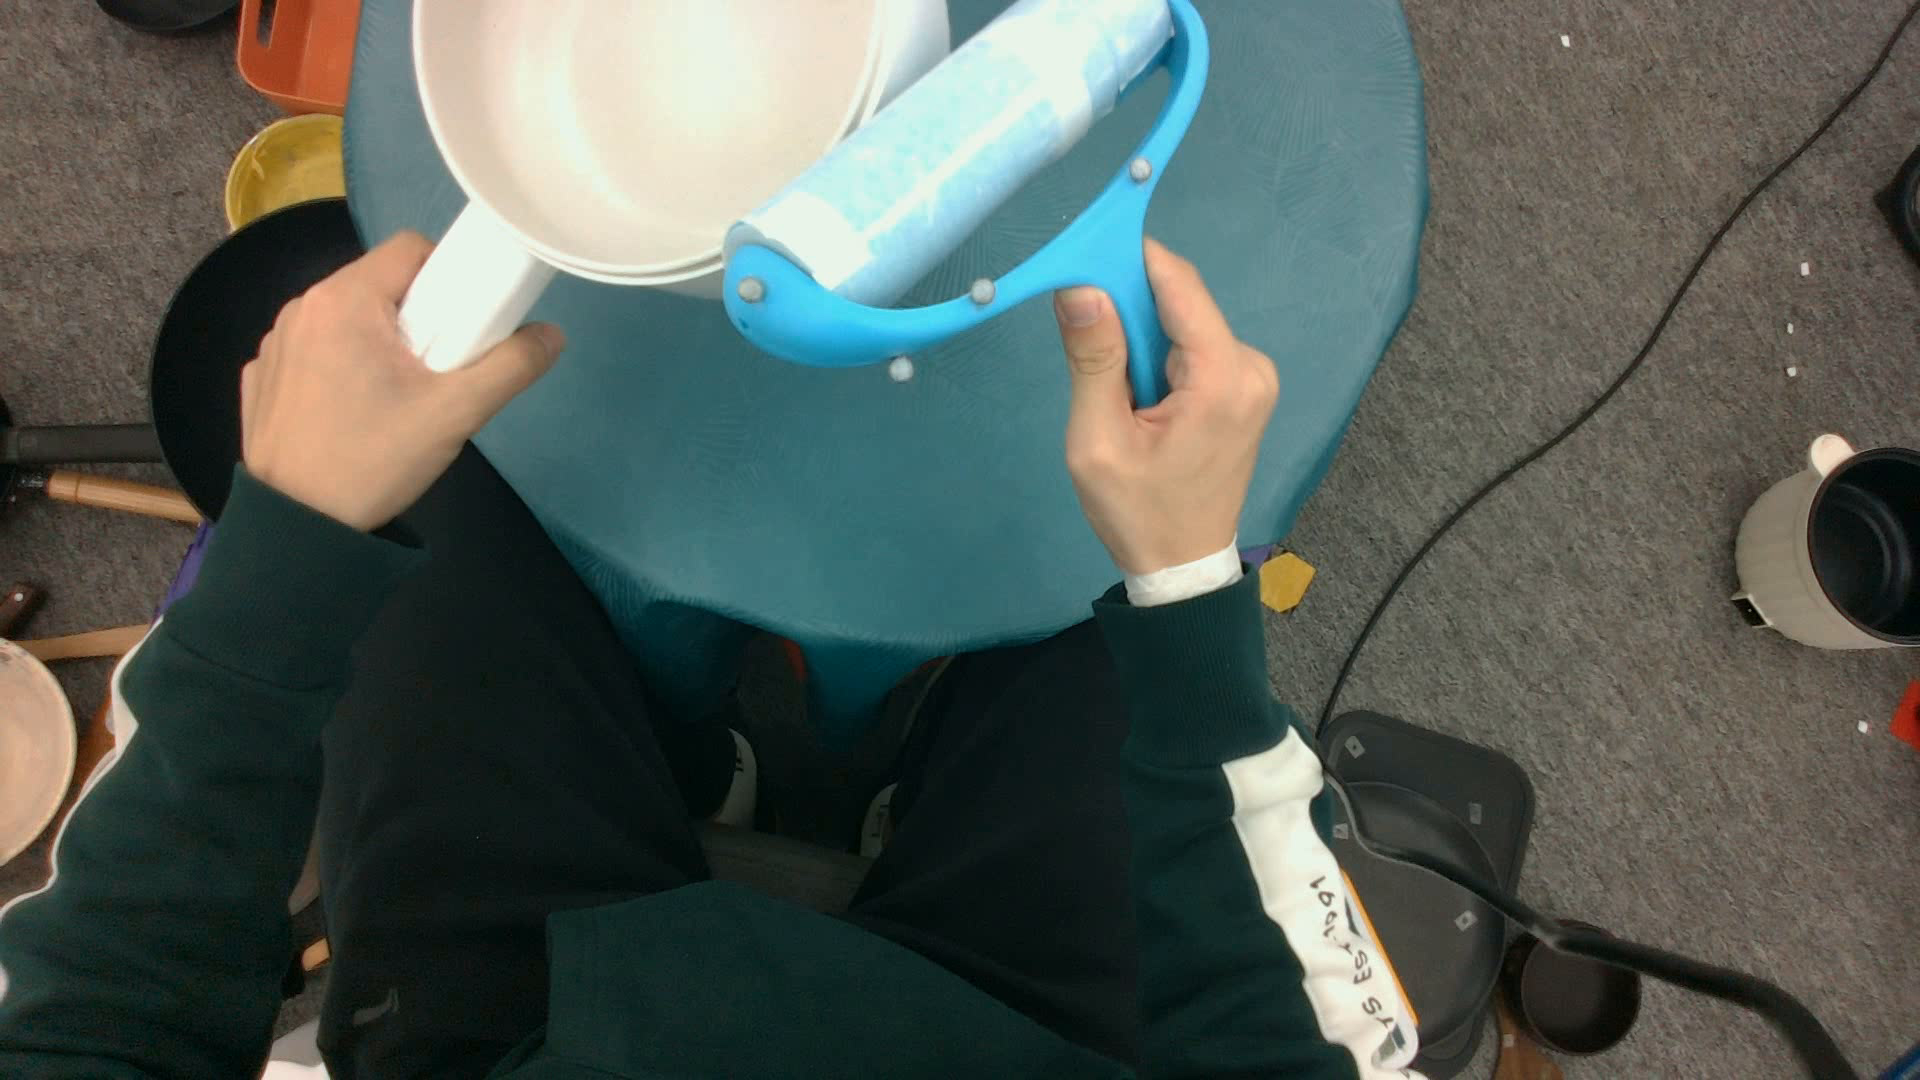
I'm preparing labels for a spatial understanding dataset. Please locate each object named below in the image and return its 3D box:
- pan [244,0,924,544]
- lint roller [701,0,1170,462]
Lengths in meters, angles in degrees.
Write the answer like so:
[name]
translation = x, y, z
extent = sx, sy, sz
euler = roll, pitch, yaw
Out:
[pan]
translation = -0.162, -0.143, 0.573
extent = 0.201, 0.102, 0.354
euler = 42, 103, 10
[lint roller]
translation = 0.031, -0.106, 0.513
extent = 0.180, 0.067, 0.230
euler = 46, 61, -14
